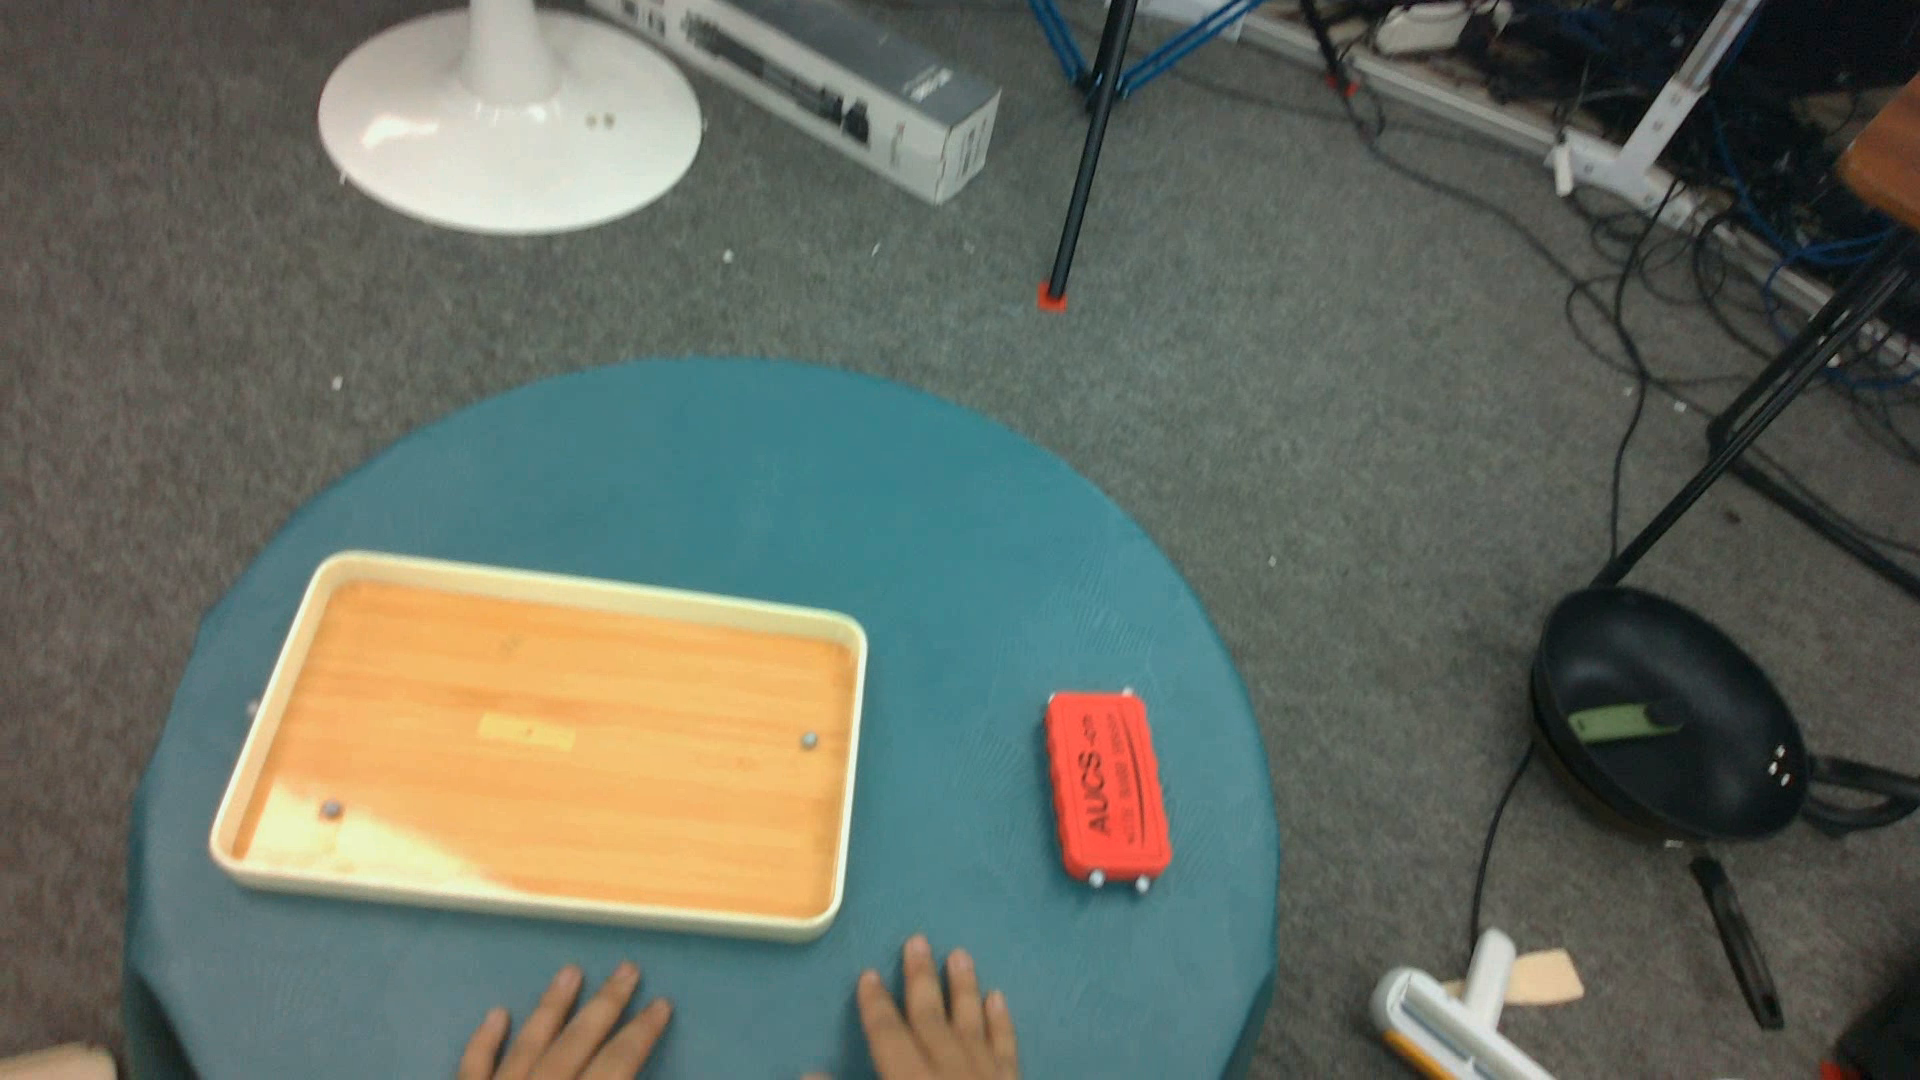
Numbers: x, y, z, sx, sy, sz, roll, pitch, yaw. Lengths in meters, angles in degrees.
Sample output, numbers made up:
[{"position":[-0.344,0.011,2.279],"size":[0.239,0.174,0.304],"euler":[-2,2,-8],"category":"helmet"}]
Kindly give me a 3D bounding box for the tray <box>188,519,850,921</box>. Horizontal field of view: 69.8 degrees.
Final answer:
[{"position":[-0.213,0.090,0.719],"size":[0.300,0.027,0.192],"euler":[8,54,-8],"category":"tray"}]

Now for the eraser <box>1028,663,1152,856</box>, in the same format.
[{"position":[0.071,0.121,0.767],"size":[0.059,0.023,0.108],"euler":[4,55,-13],"category":"eraser"}]
